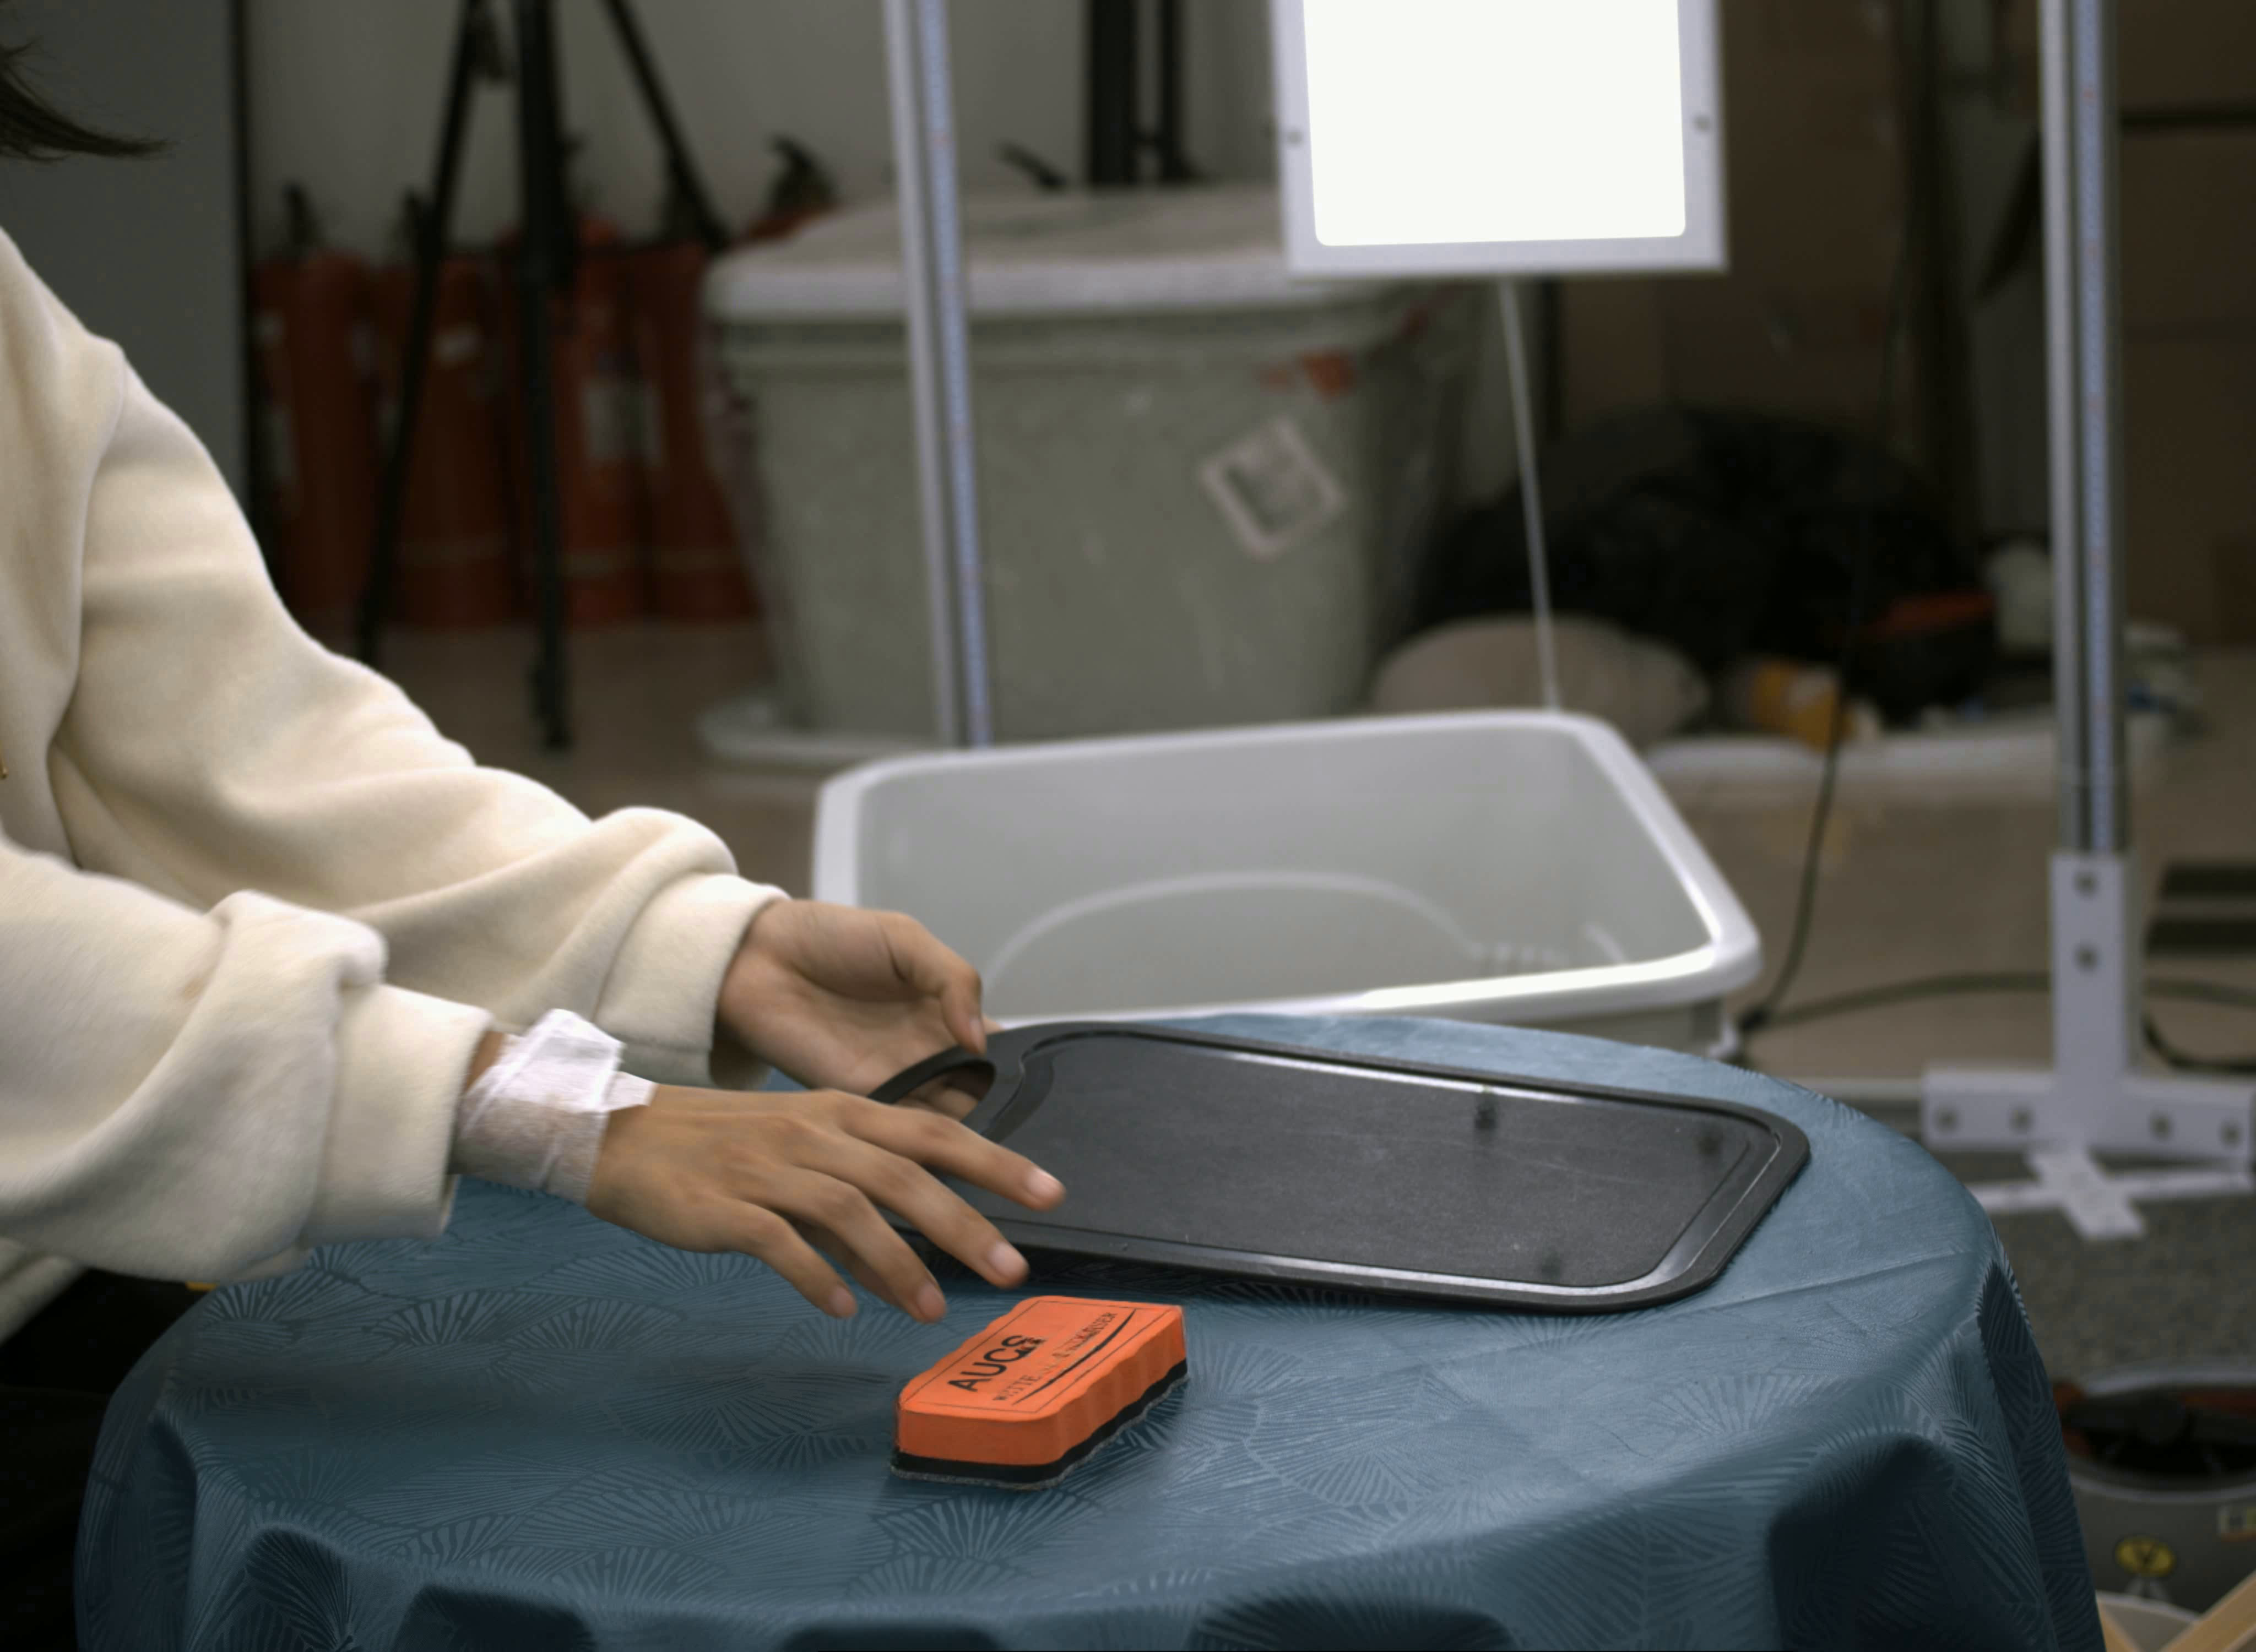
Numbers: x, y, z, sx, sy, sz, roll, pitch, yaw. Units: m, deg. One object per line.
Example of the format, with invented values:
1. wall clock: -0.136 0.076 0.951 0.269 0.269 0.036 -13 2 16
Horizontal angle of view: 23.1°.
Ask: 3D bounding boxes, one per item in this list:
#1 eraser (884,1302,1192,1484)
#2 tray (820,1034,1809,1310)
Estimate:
1. eraser: -0.026 0.172 1.675 0.060 0.023 0.106 -1 14 28
2. tray: 0.058 0.113 1.869 0.330 0.010 0.207 5 18 22
